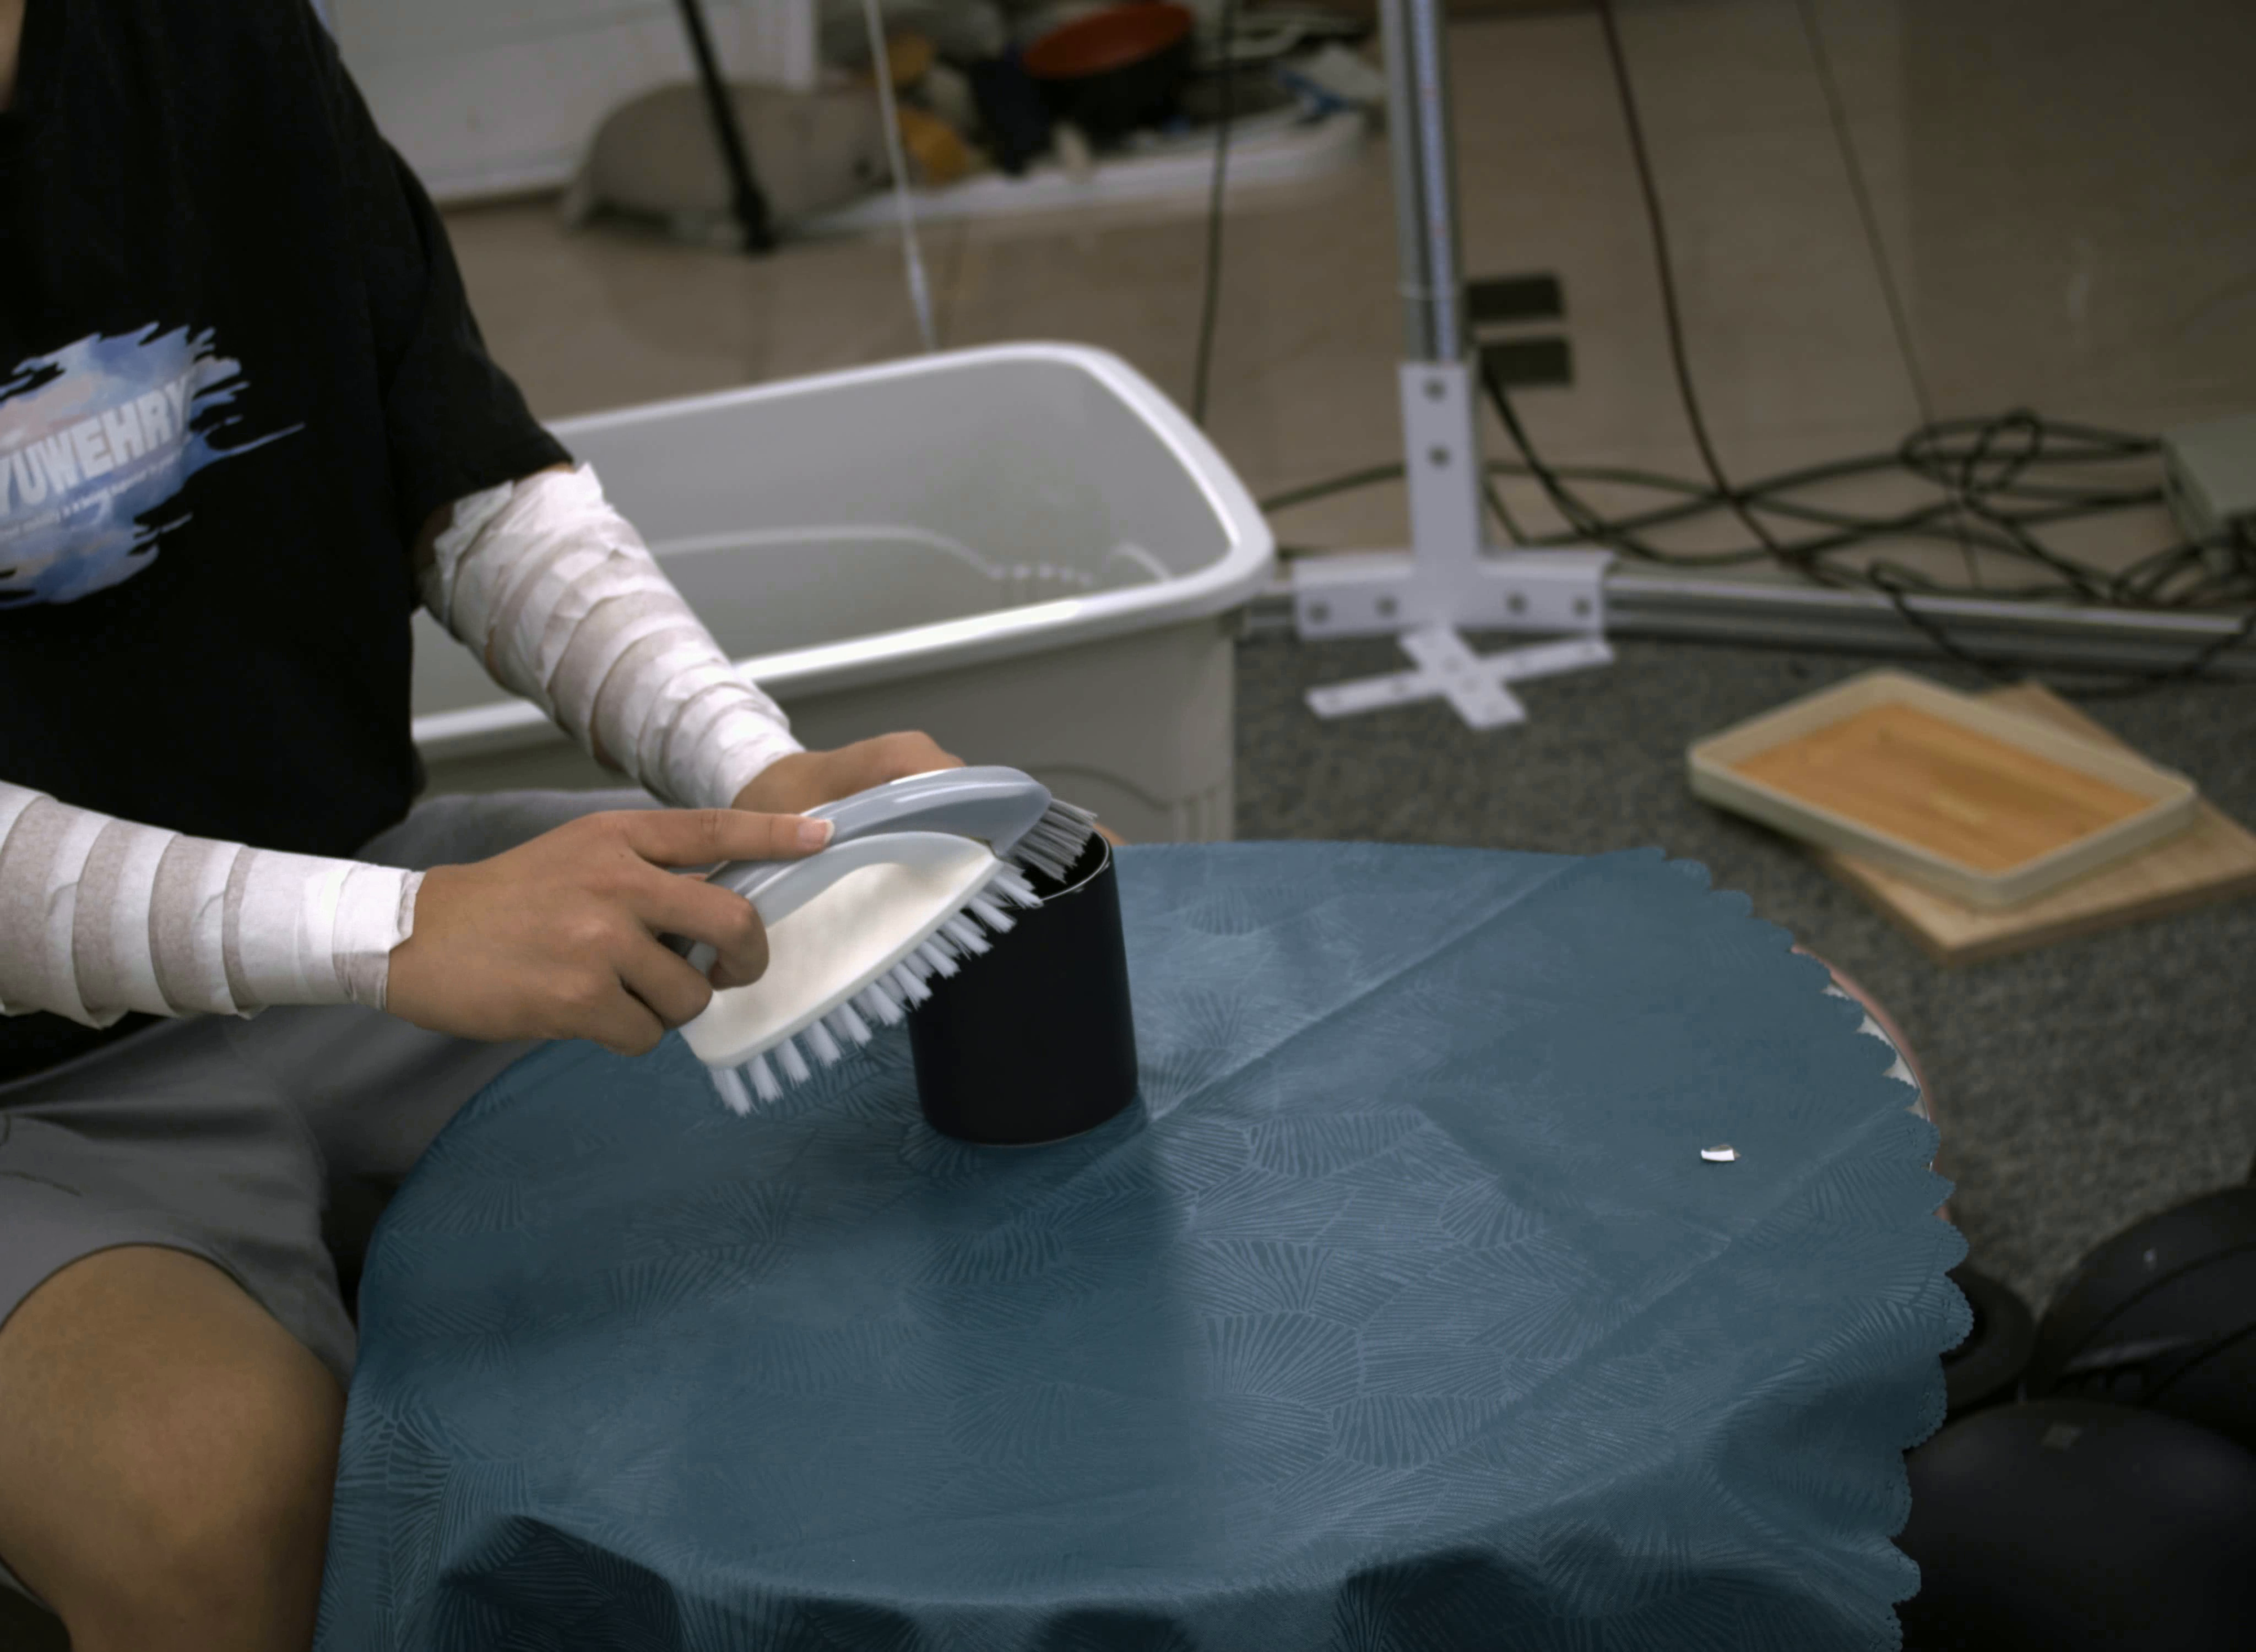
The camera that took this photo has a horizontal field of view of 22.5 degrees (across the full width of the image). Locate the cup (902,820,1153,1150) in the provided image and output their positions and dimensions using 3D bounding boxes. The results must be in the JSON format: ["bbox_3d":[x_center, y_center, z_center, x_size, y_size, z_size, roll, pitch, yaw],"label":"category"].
[{"bbox_3d":[-0.048,0.055,2.221,0.088,0.107,0.122,-19,26,-14],"label":"cup"}]

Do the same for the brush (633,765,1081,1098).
[{"bbox_3d":[-0.106,0.022,2.127,0.175,0.096,0.060,-31,52,3],"label":"brush"}]
